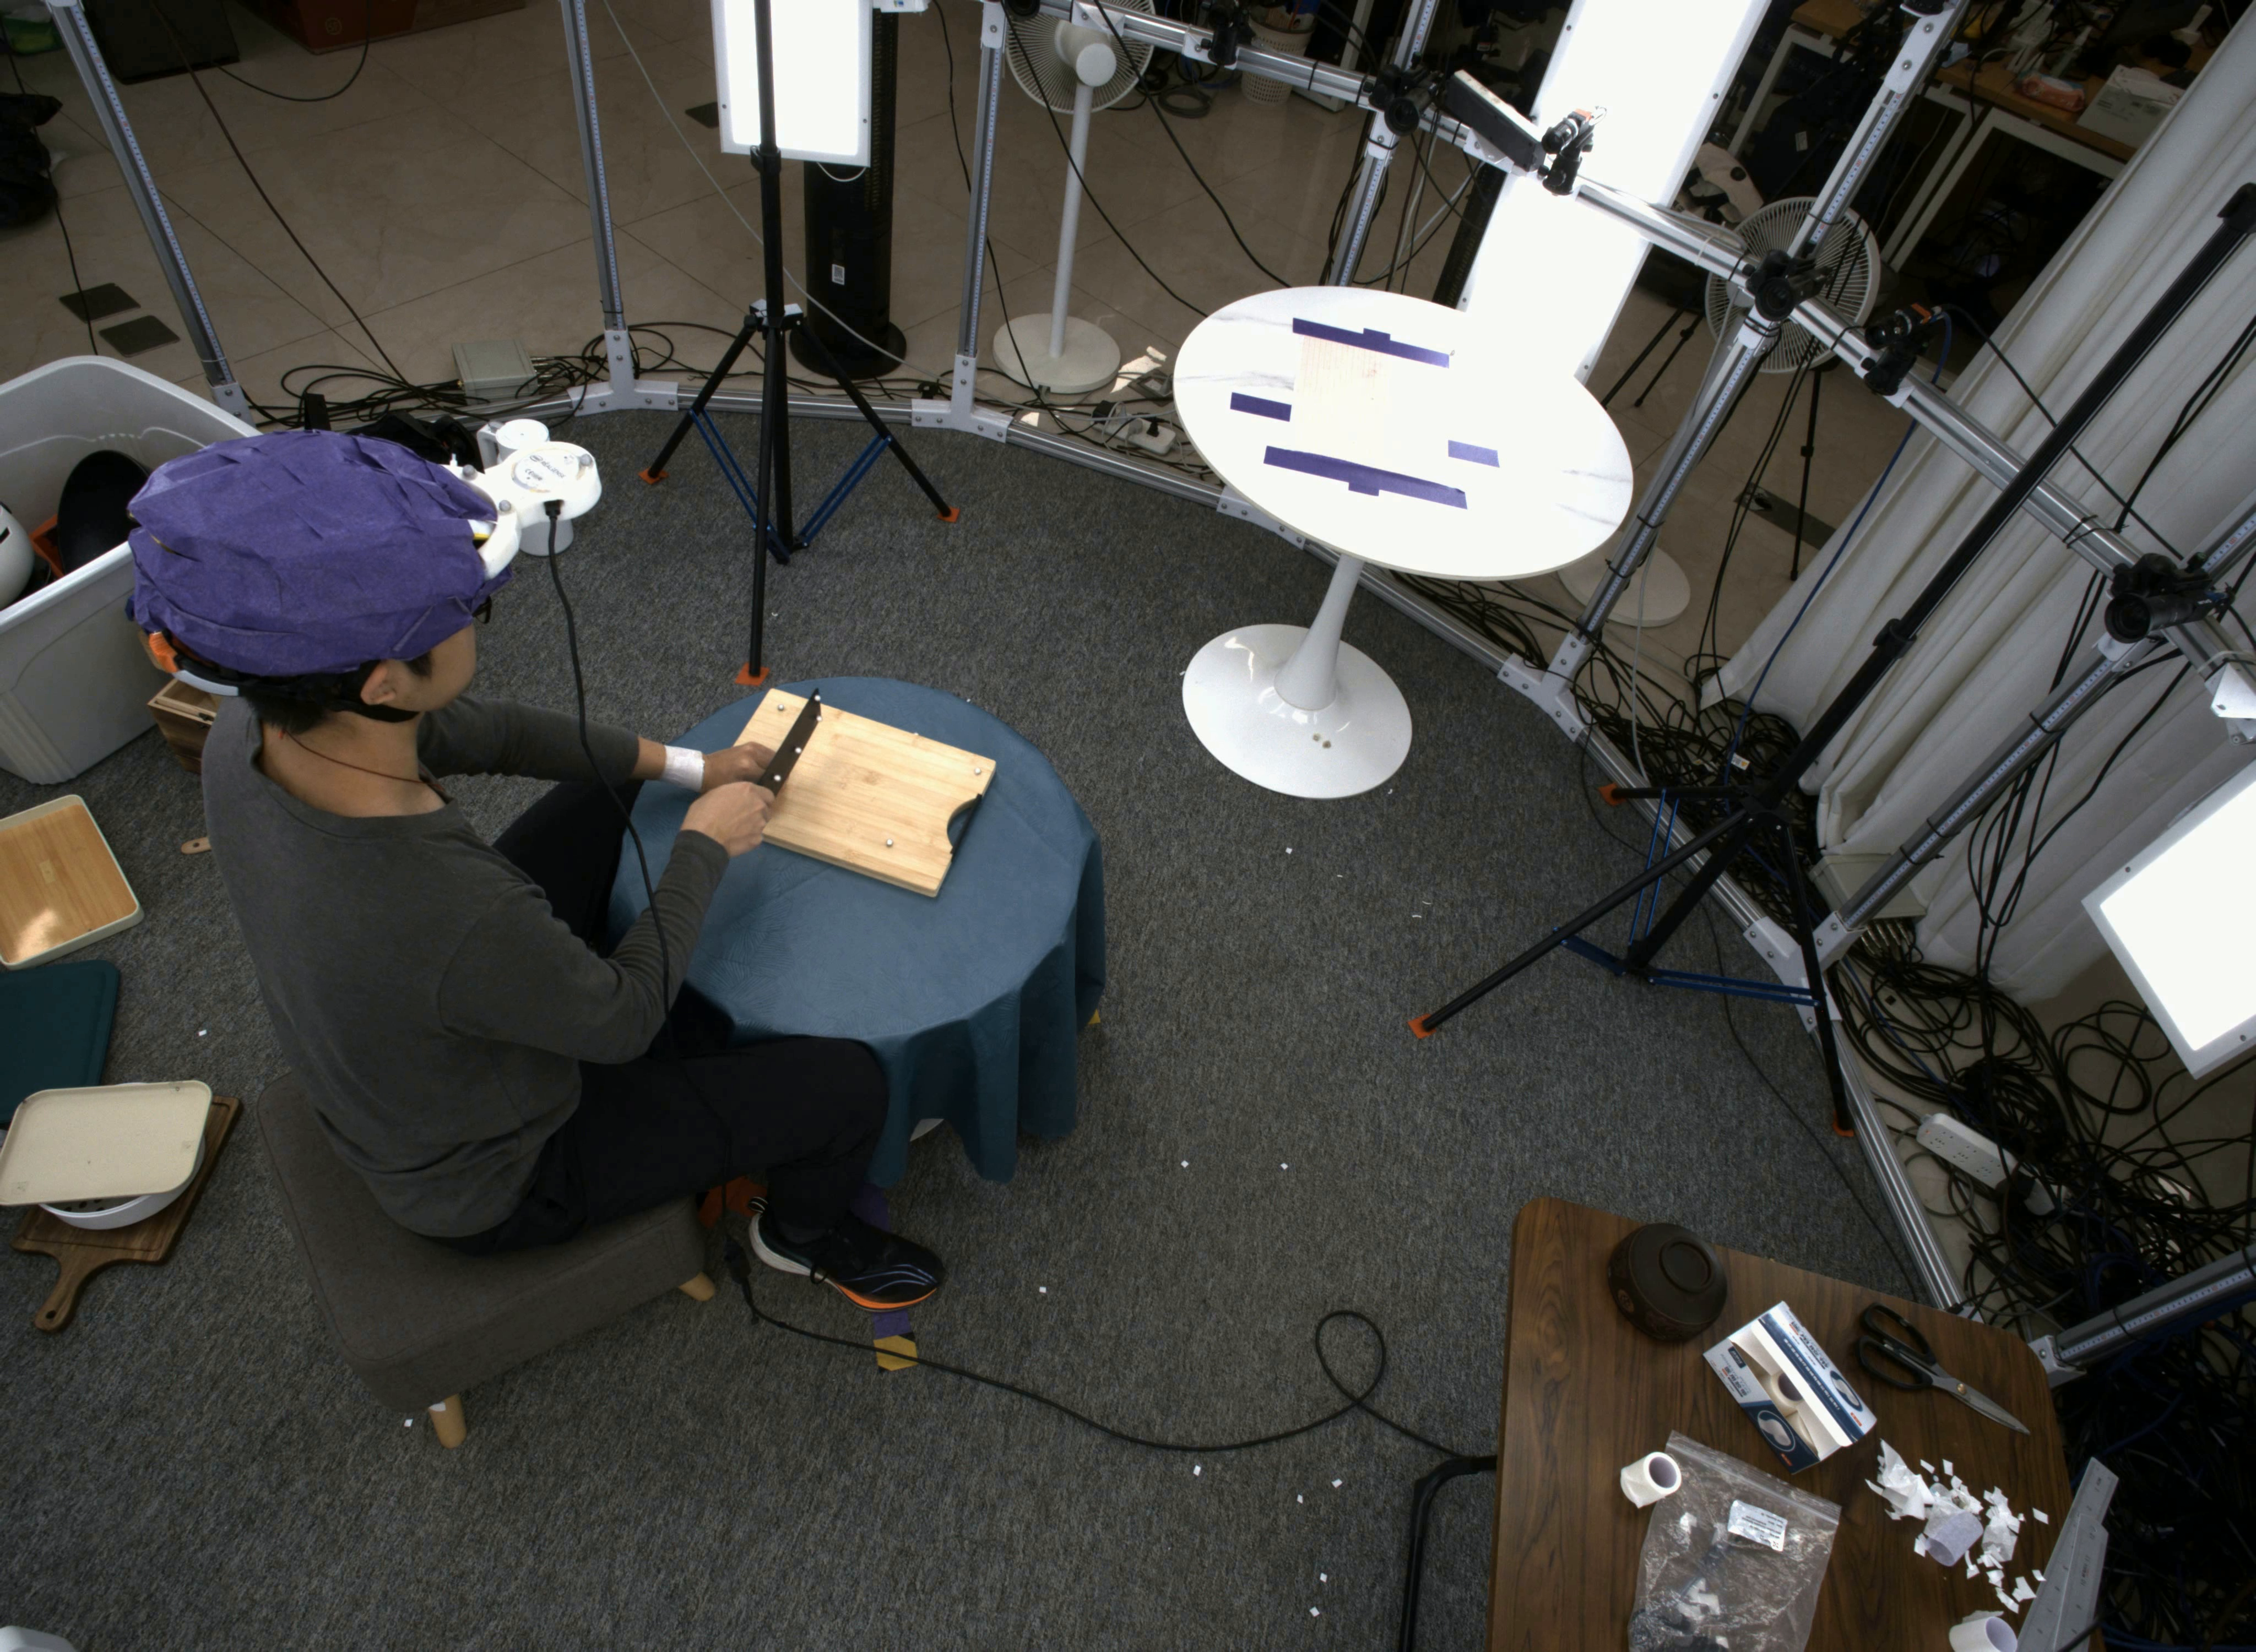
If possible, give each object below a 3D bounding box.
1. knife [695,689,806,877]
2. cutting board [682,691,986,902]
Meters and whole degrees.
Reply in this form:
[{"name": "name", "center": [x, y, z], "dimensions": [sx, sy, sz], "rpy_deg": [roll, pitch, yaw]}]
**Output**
[{"name": "knife", "center": [-0.474, -0.054, 1.646], "dimensions": [0.020, 0.083, 0.299], "rpy_deg": [15, 48, 6]}, {"name": "cutting board", "center": [-0.394, -0.047, 1.768], "dimensions": [0.346, 0.024, 0.248], "rpy_deg": [17, 52, -1]}]
